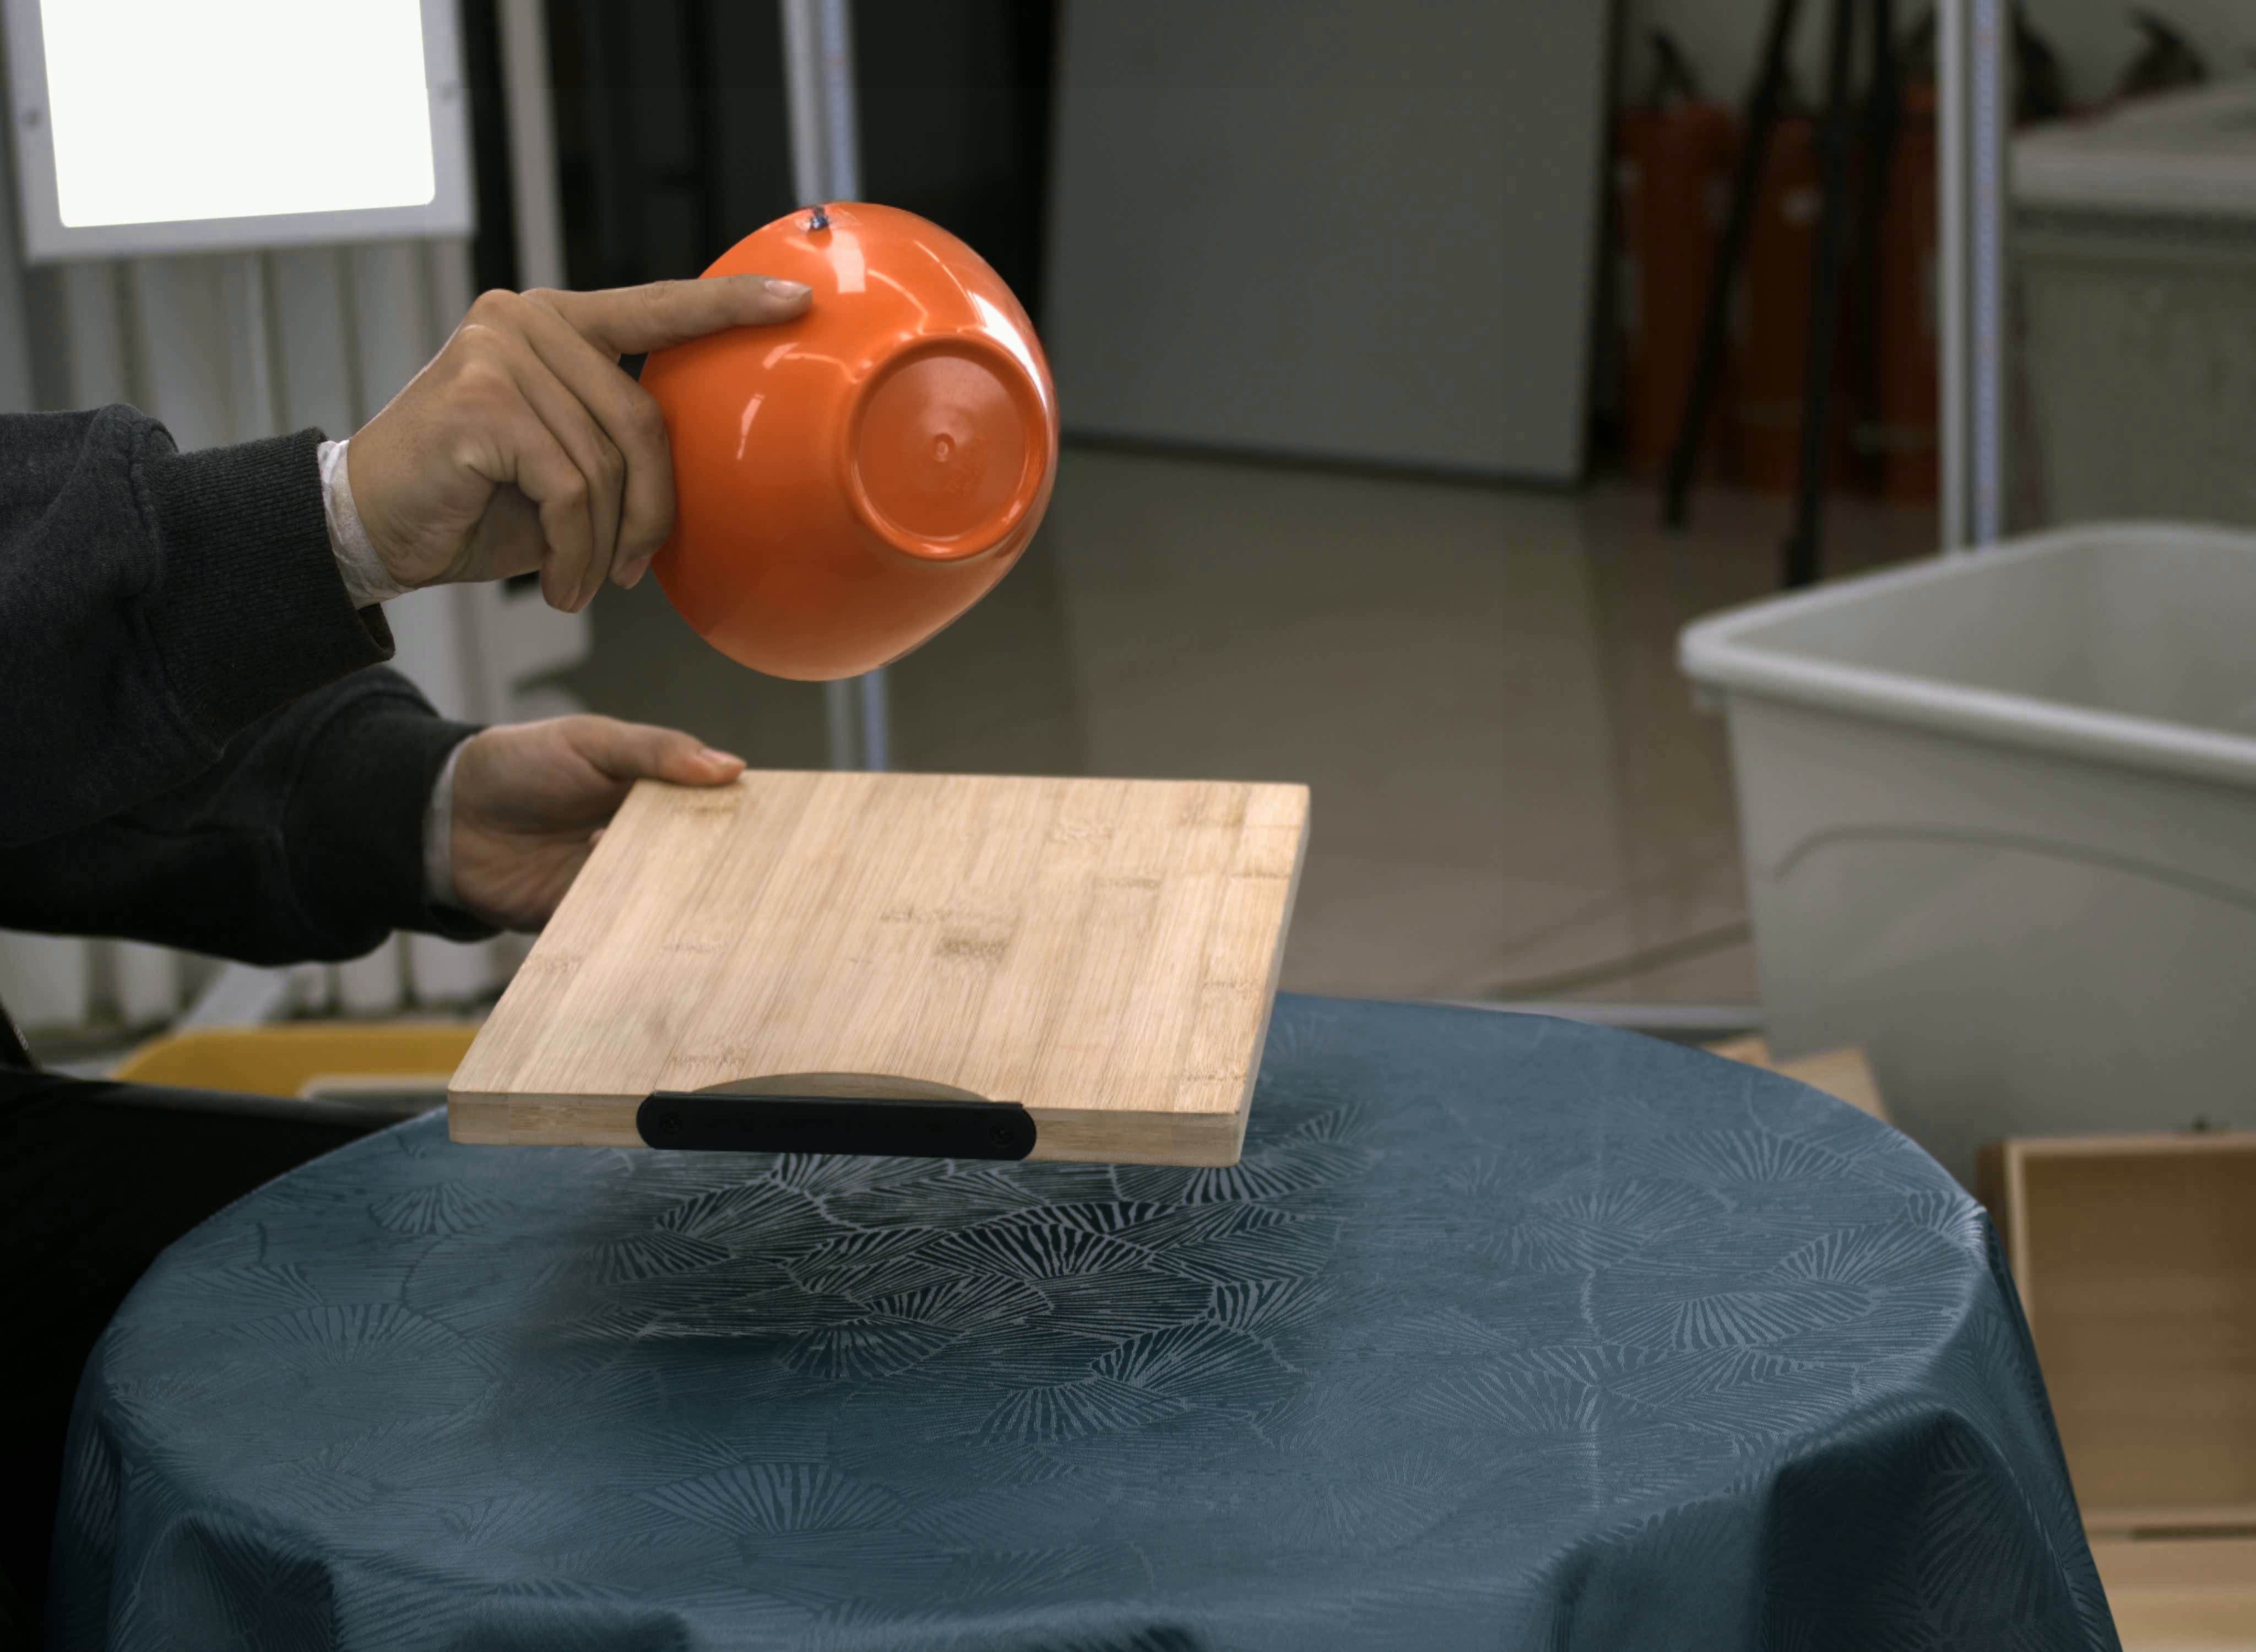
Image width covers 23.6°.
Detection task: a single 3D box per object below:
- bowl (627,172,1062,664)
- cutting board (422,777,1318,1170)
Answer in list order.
[{"bbox_3d":[-0.068,-0.116,1.594,0.145,0.150,0.106,-9,12,-25],"label":"bowl"},{"bbox_3d":[-0.070,0.043,1.744,0.248,0.024,0.348,0,16,6],"label":"cutting board"}]
